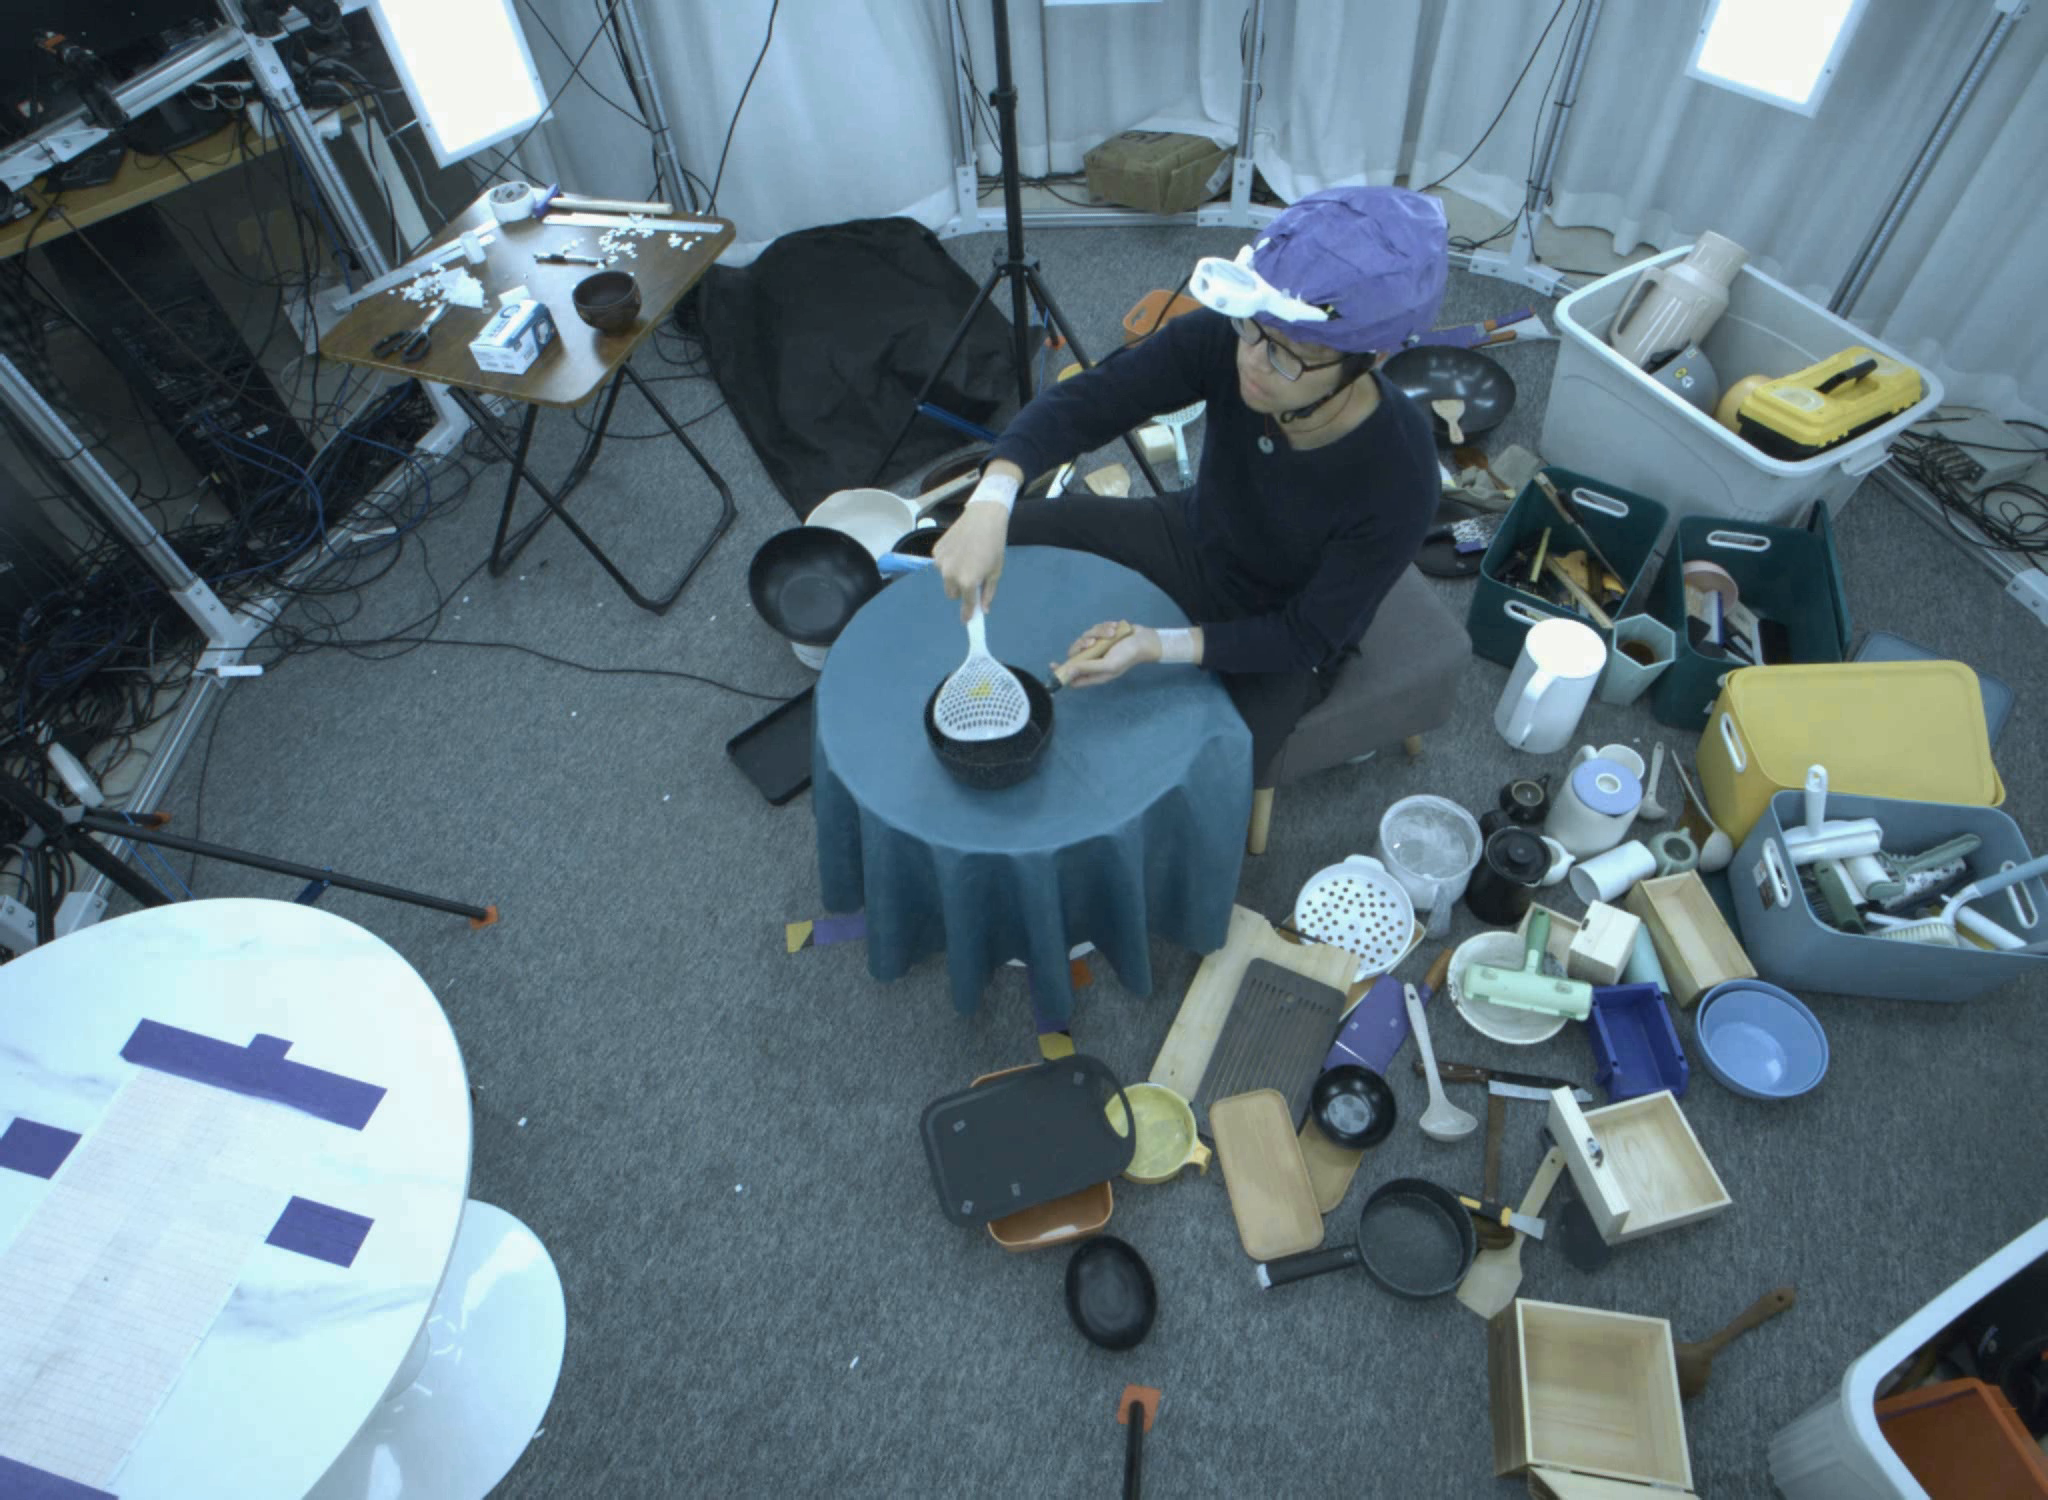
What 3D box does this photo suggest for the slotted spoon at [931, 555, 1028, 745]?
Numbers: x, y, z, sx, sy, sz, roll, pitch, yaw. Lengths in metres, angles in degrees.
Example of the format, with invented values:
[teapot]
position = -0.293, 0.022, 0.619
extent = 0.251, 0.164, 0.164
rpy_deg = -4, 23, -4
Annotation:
[slotted spoon]
position = -0.069, -0.125, 1.649
extent = 0.137, 0.351, 0.049
rpy_deg = -6, 56, -1

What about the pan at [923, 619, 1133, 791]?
[pan]
position = 0.016, -0.074, 1.772
extent = 0.345, 0.109, 0.203
rpy_deg = -33, 58, -18
